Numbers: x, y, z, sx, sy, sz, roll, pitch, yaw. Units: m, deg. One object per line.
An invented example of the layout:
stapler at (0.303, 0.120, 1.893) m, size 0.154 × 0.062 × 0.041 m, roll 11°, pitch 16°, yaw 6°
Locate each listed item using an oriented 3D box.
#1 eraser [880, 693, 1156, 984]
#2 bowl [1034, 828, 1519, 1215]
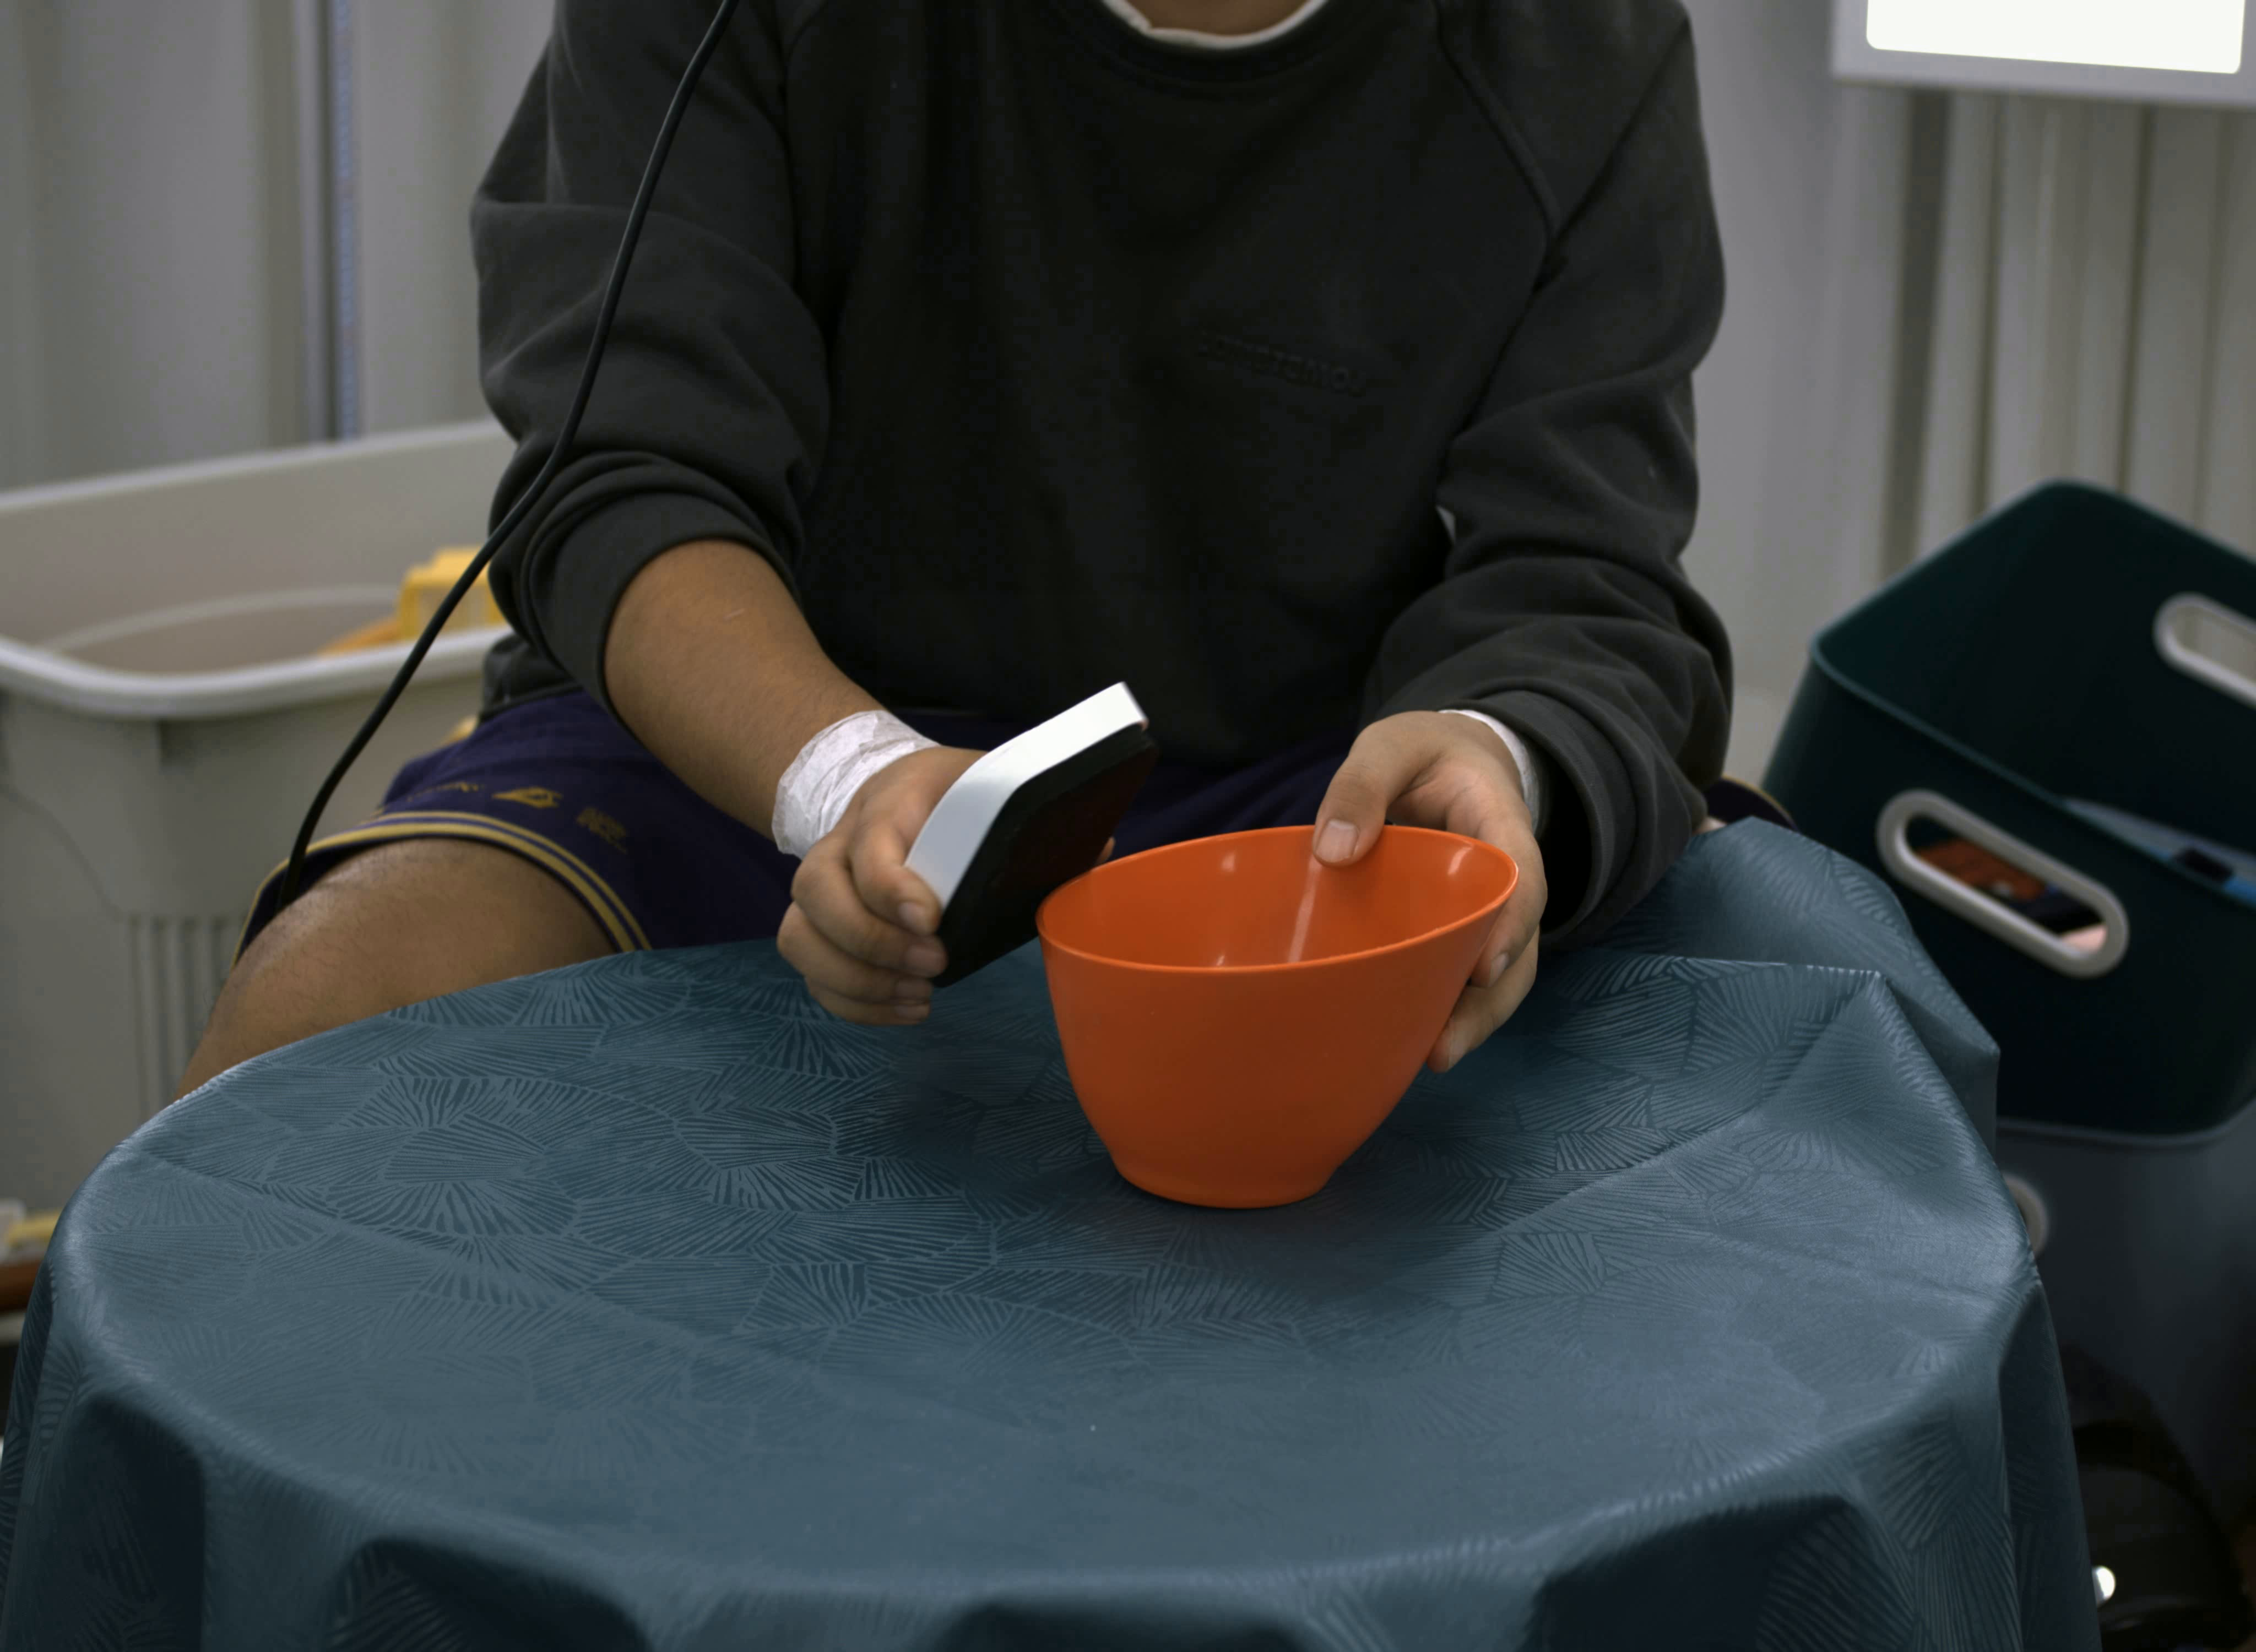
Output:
eraser at (-0.034, 0.002, 1.622) m, size 0.063 × 0.034 × 0.132 m, roll -28°, pitch -14°, yaw -27°
bowl at (0.043, 0.061, 1.617) m, size 0.147 × 0.105 × 0.147 m, roll 3°, pitch 18°, yaw -1°
